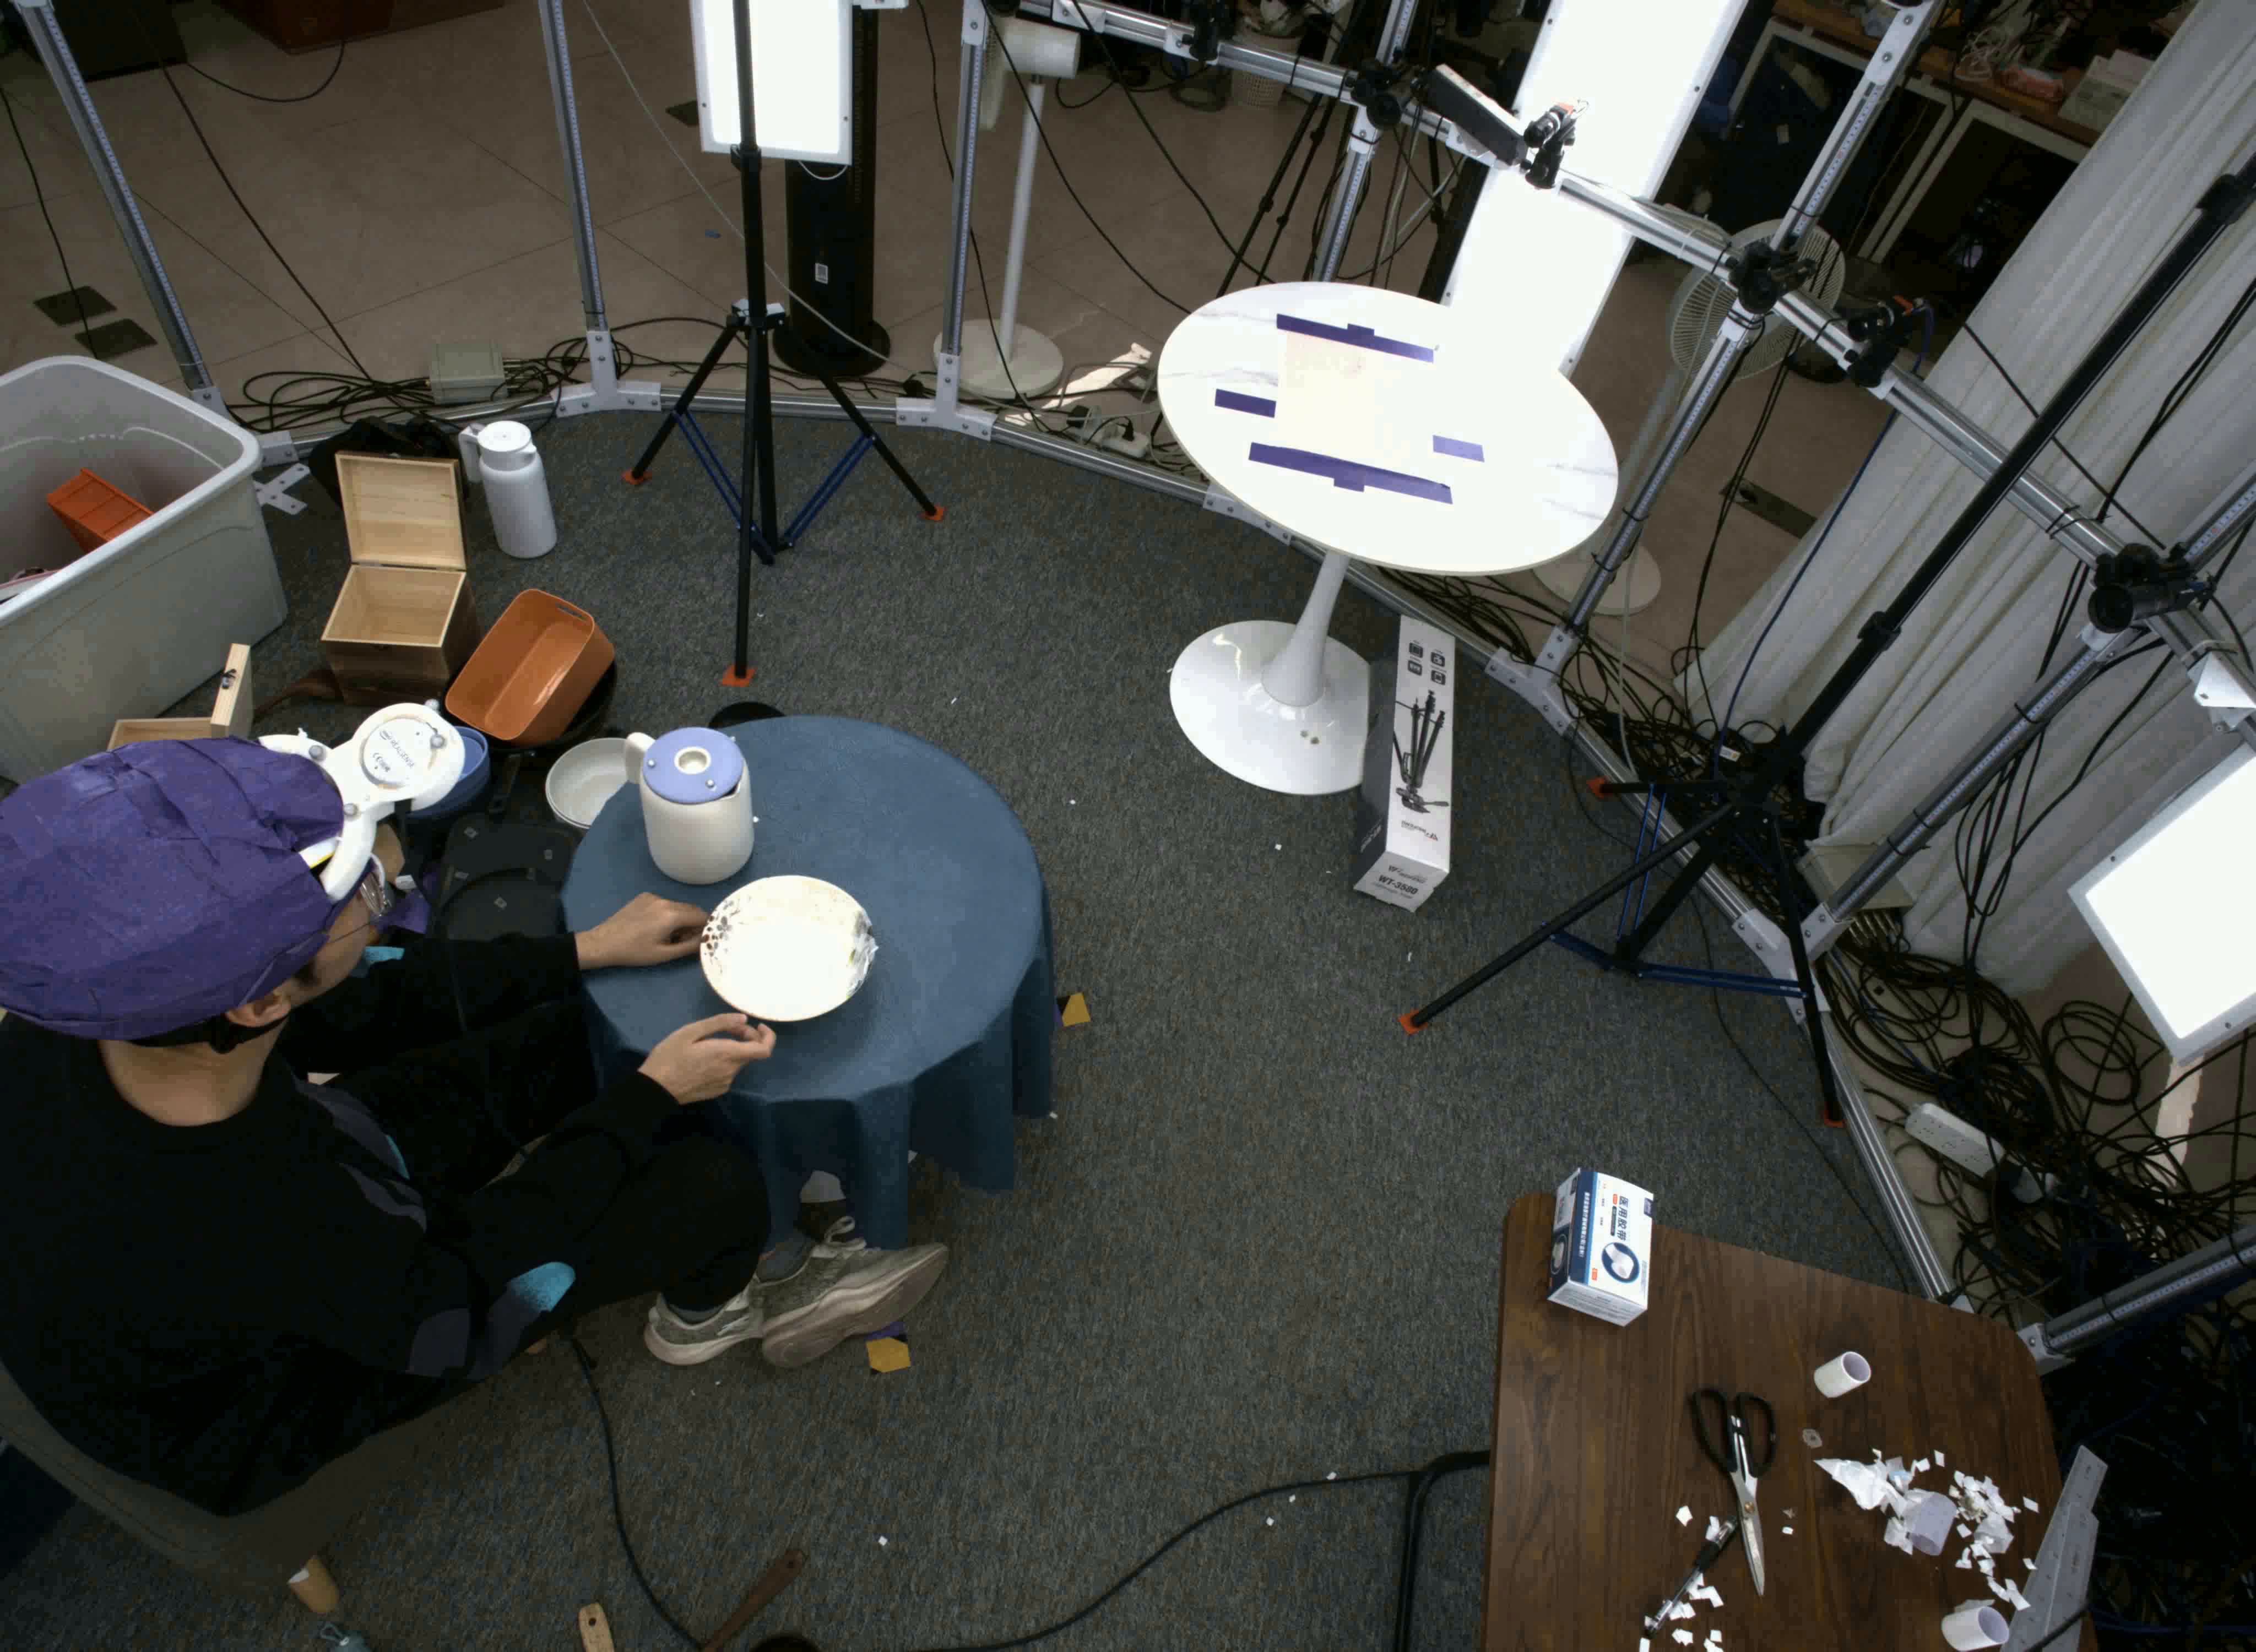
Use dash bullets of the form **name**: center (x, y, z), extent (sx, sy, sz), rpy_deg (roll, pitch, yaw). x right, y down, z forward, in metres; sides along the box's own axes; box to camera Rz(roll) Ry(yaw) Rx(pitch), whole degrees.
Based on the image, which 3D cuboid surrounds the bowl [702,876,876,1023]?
- **bowl**: center (-0.406, 0.163, 1.567), extent (0.203, 0.079, 0.200), rpy_deg (7, 53, -7)

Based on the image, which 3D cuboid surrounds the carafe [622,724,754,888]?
- **carafe**: center (-0.559, -0.037, 1.611), extent (0.187, 0.187, 0.132), rpy_deg (28, 51, 12)
